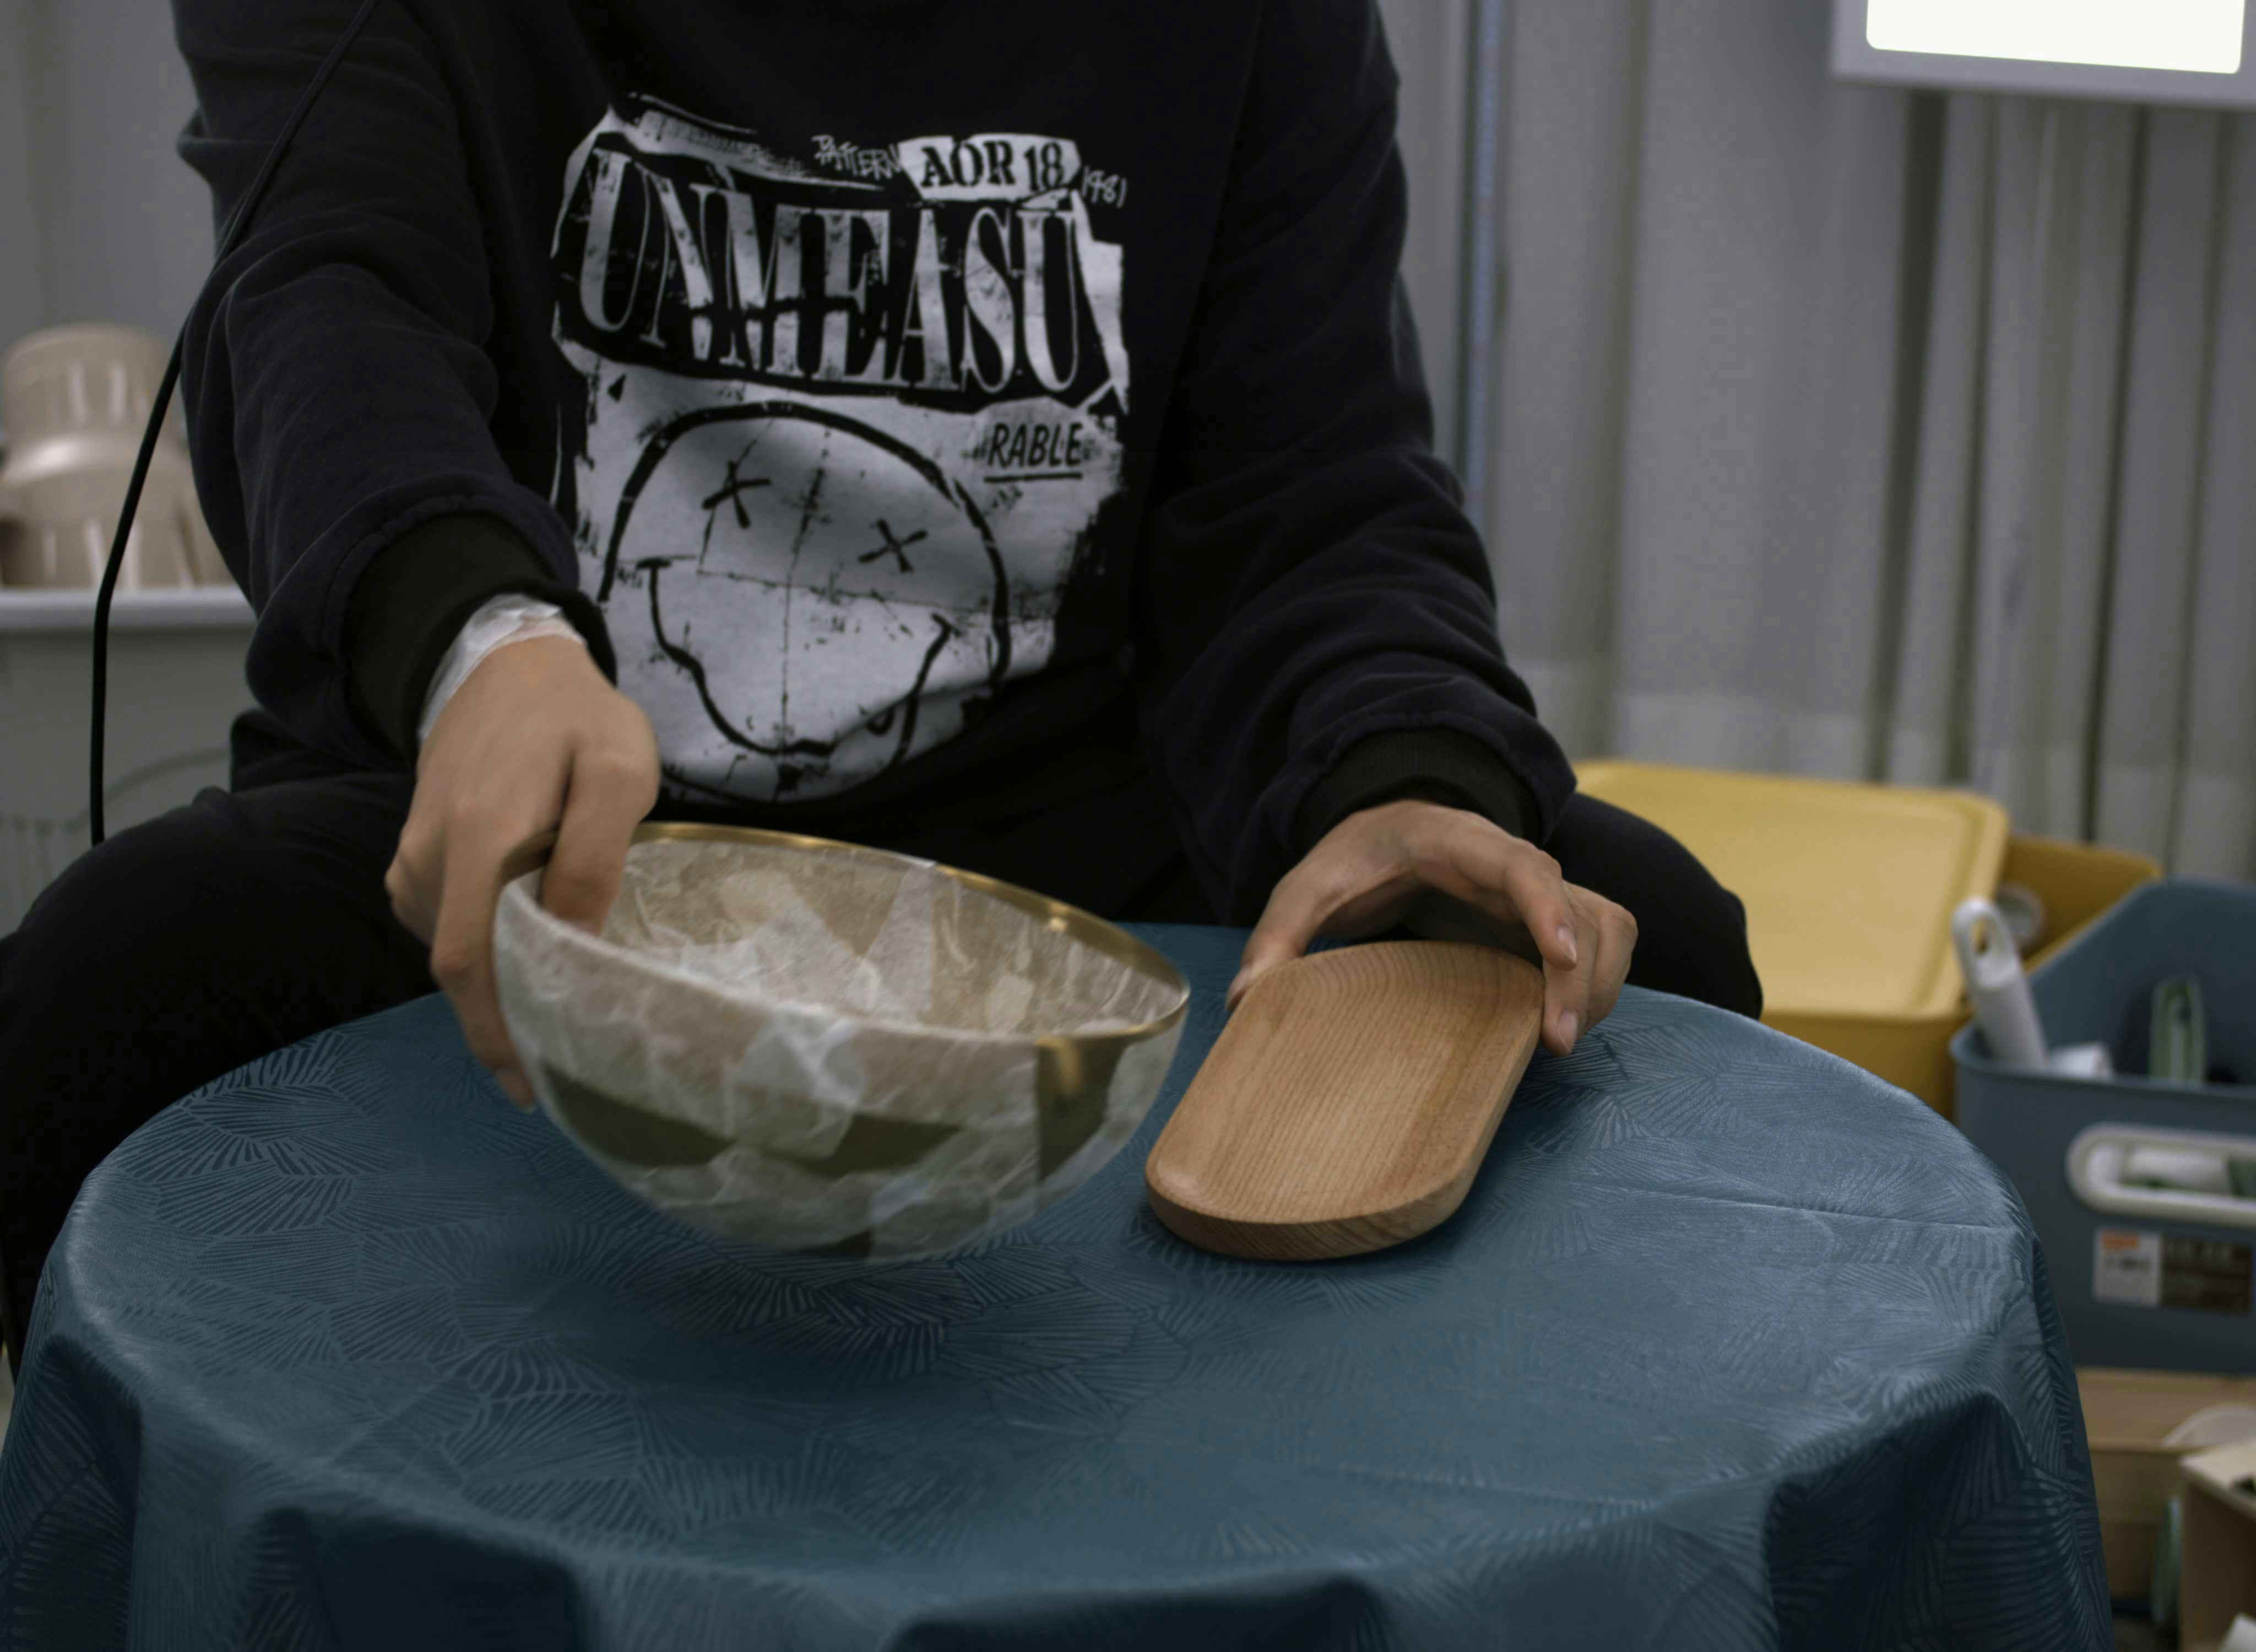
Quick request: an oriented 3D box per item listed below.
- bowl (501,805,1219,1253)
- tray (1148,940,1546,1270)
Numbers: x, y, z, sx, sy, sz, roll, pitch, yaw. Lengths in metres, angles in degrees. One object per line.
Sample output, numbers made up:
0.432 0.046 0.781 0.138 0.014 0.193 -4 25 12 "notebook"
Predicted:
-0.082 0.067 1.504 0.214 0.095 0.214 11 12 -2 "bowl"
0.072 0.085 1.660 0.101 0.020 0.230 -2 22 14 "tray"
